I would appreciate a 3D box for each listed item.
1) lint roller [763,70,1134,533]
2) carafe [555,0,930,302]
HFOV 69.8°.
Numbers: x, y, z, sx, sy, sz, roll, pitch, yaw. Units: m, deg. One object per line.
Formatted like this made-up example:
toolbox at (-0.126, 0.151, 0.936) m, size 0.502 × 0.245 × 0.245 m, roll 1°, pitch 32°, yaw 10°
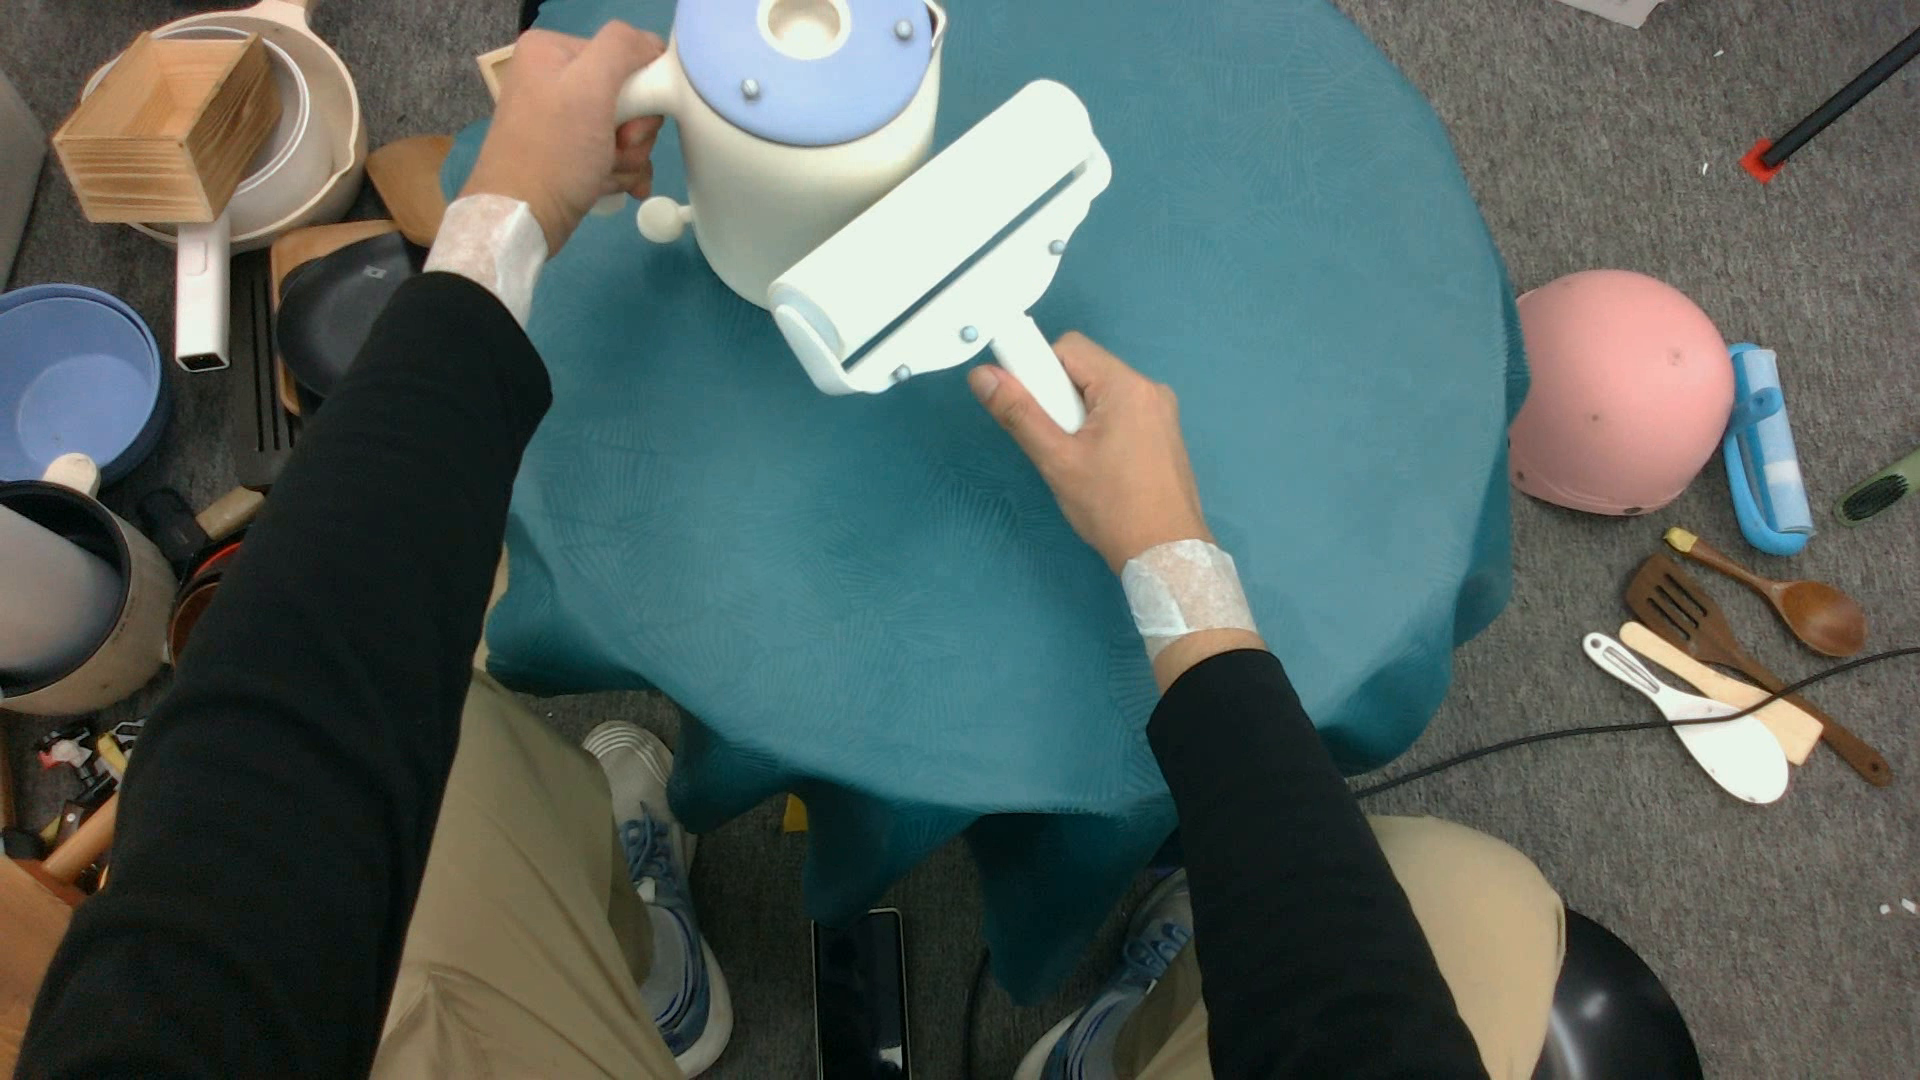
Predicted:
lint roller at (0.032, -0.094, 0.691) m, size 0.203 × 0.048 × 0.225 m, roll -47°, pitch 112°, yaw -29°
carafe at (-0.112, -0.211, 0.711) m, size 0.191 × 0.182 × 0.132 m, roll -14°, pitch 74°, yaw -9°
